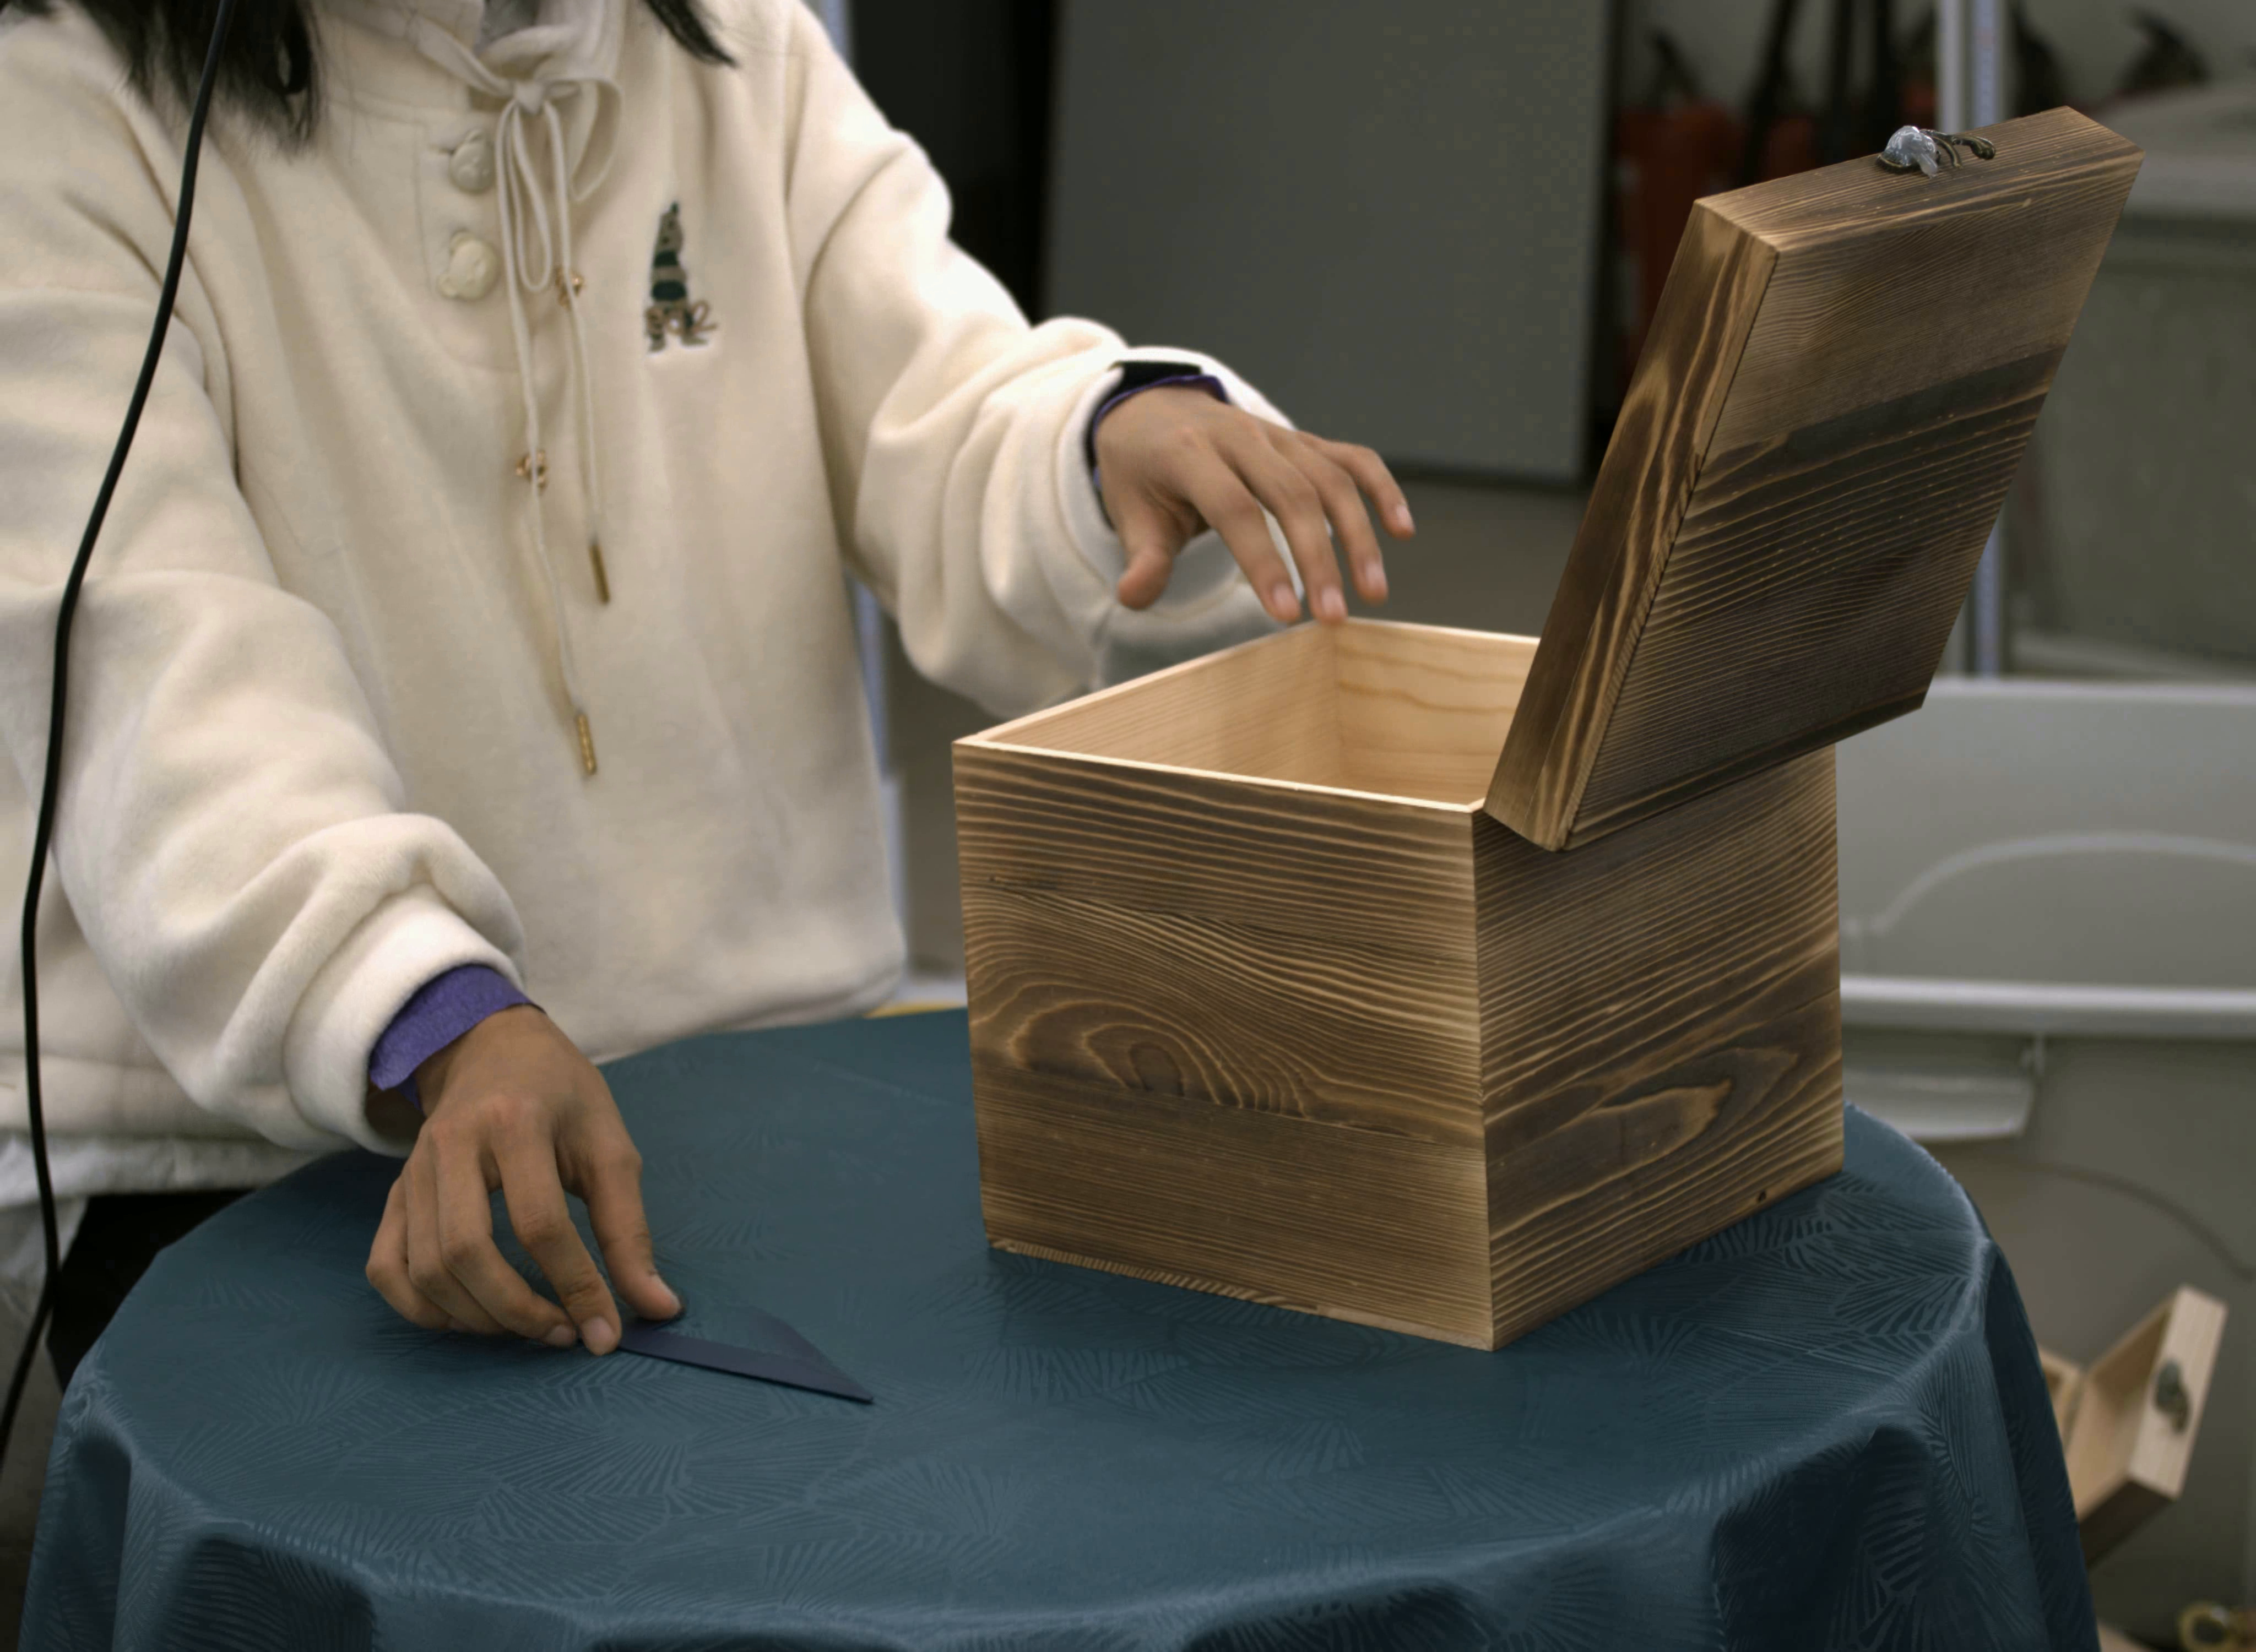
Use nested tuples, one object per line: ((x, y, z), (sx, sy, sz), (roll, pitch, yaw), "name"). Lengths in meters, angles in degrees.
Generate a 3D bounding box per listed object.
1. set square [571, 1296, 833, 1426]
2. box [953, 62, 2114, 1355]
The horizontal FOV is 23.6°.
((-0.131, 0.162, 1.630), (0.060, 0.006, 0.133), (-4, 13, -18), "set square")
((0.124, -0.045, 1.659), (0.324, 0.379, 0.205), (9, 18, 39), "box")
